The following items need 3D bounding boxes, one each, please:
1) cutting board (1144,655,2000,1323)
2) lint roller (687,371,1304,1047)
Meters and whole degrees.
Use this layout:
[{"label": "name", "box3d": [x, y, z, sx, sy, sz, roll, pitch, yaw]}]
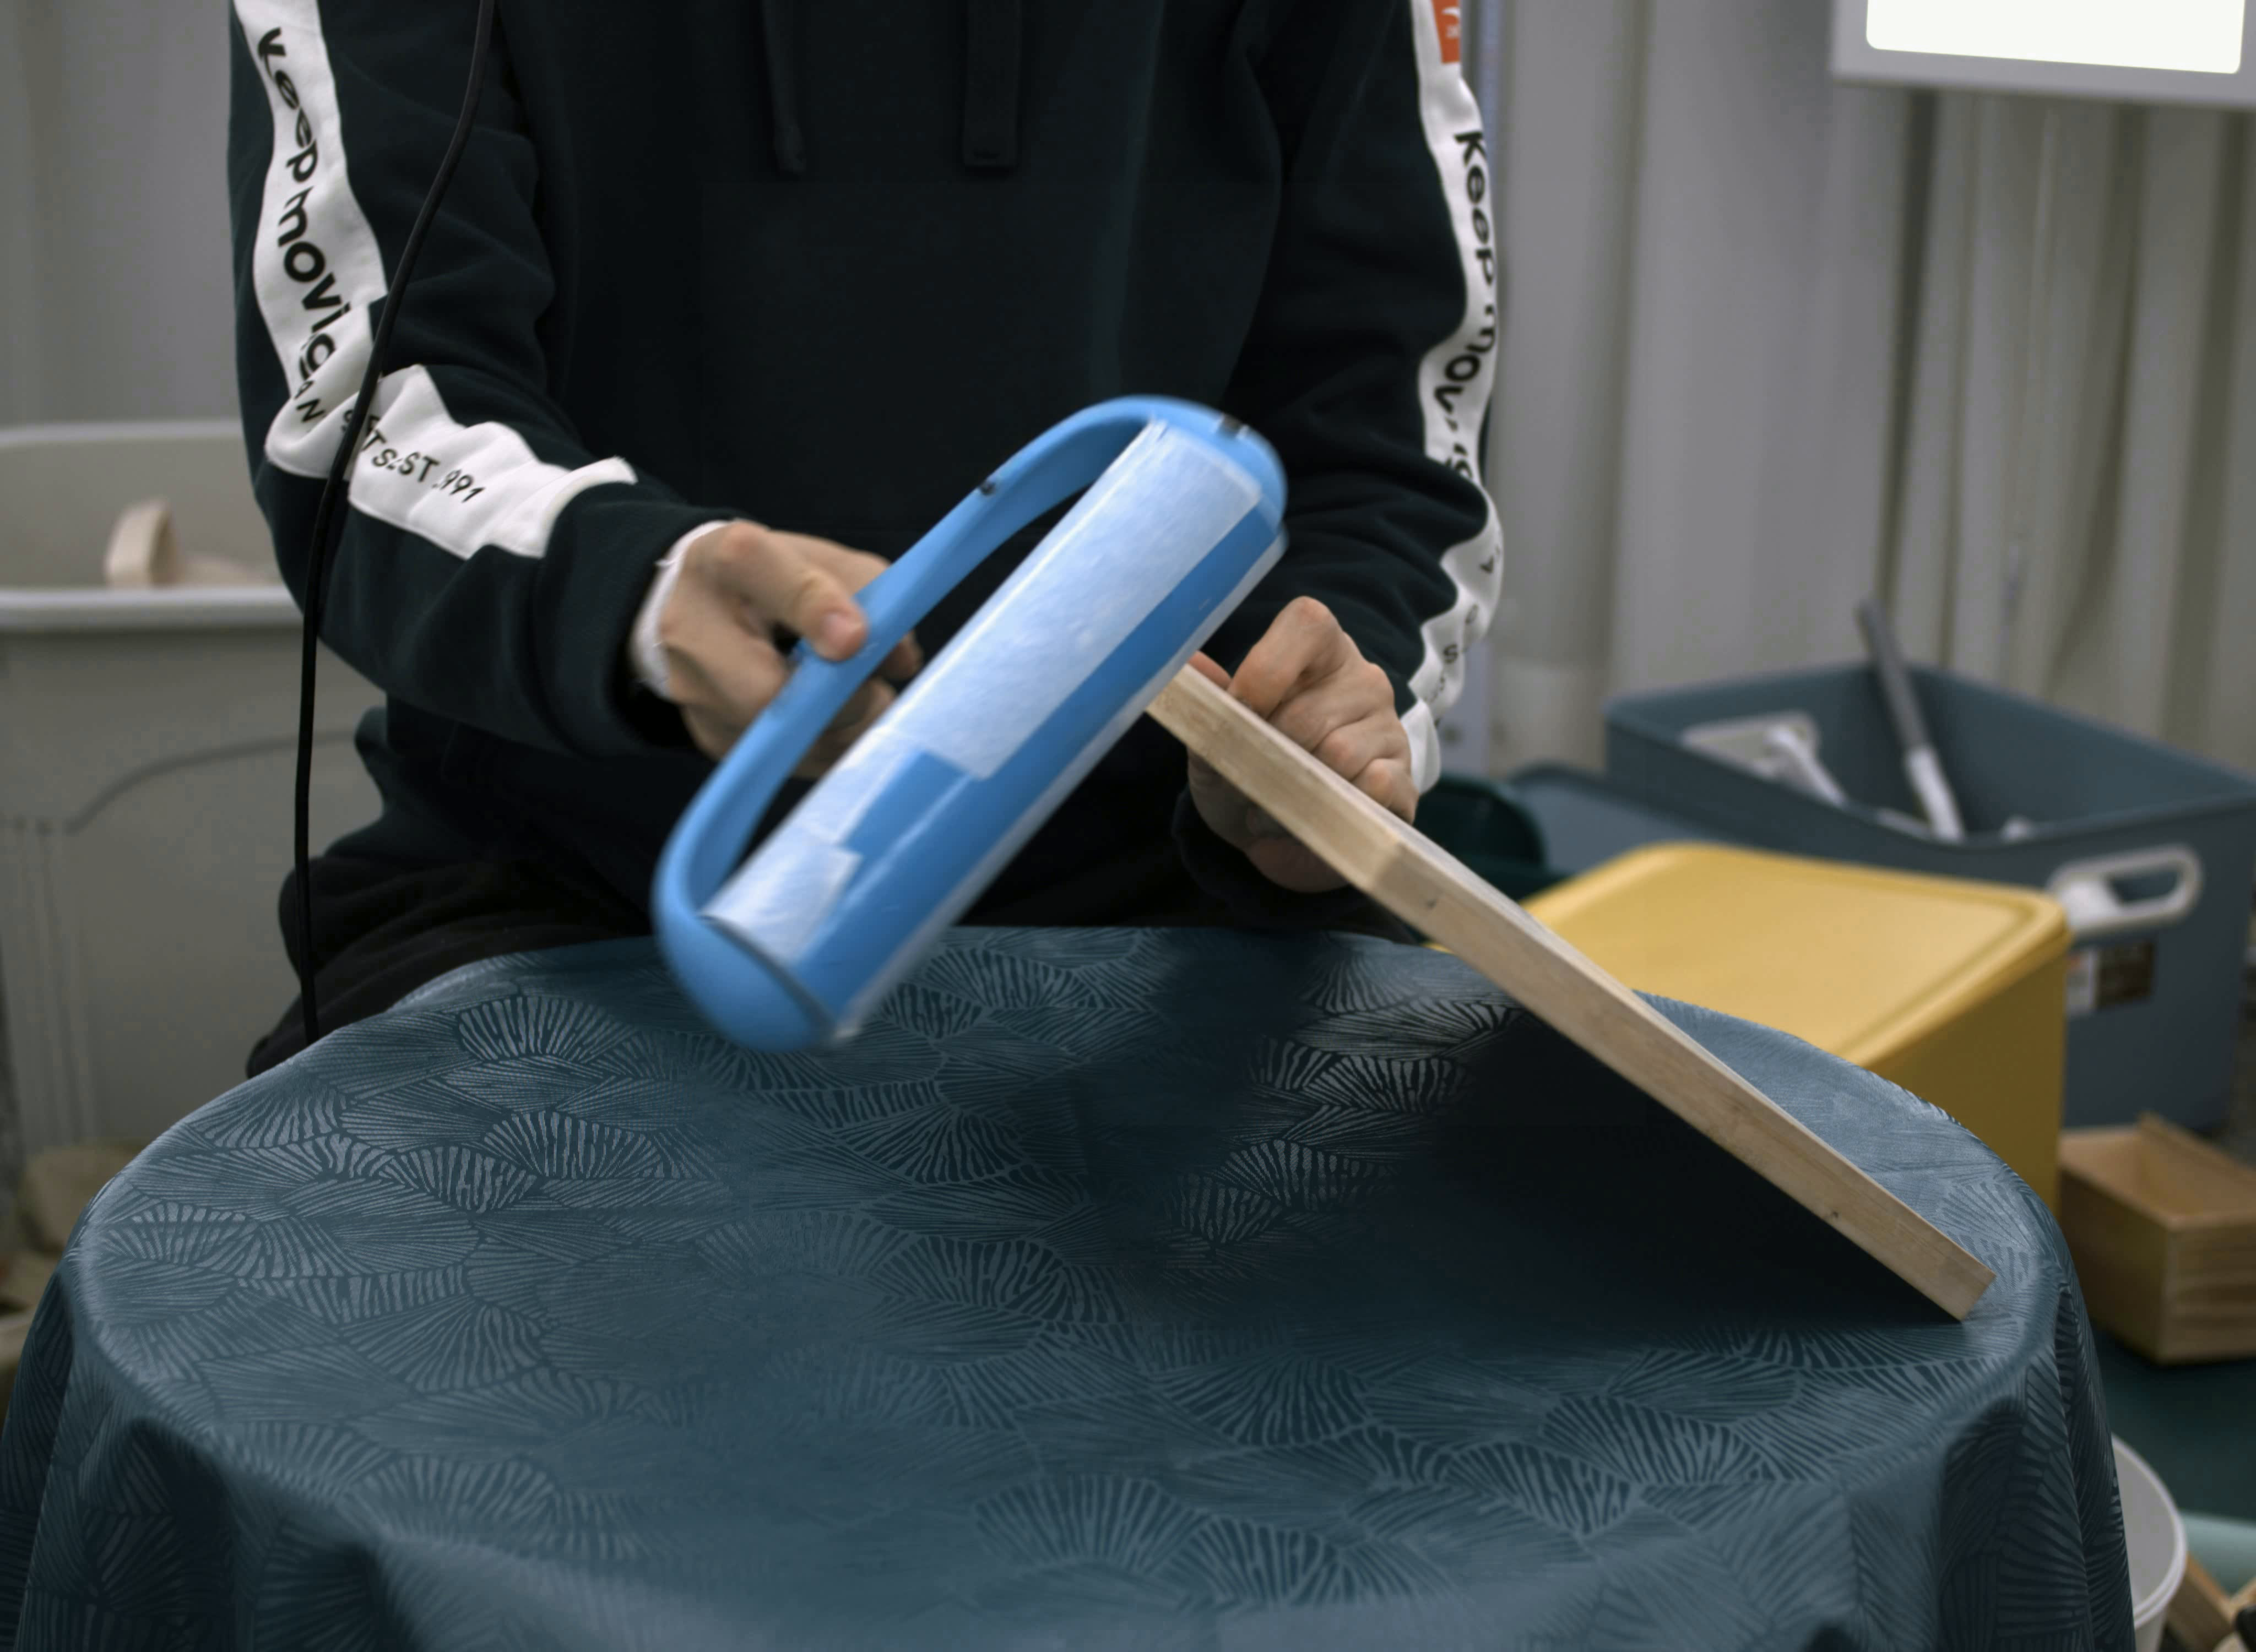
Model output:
[{"label": "cutting board", "box3d": [0.106, 0.027, 1.624, 0.253, 0.023, 0.345, 36, 2, -25]}, {"label": "lint roller", "box3d": [-0.061, -0.038, 1.505, 0.229, 0.069, 0.178, -53, 29, -16]}]
